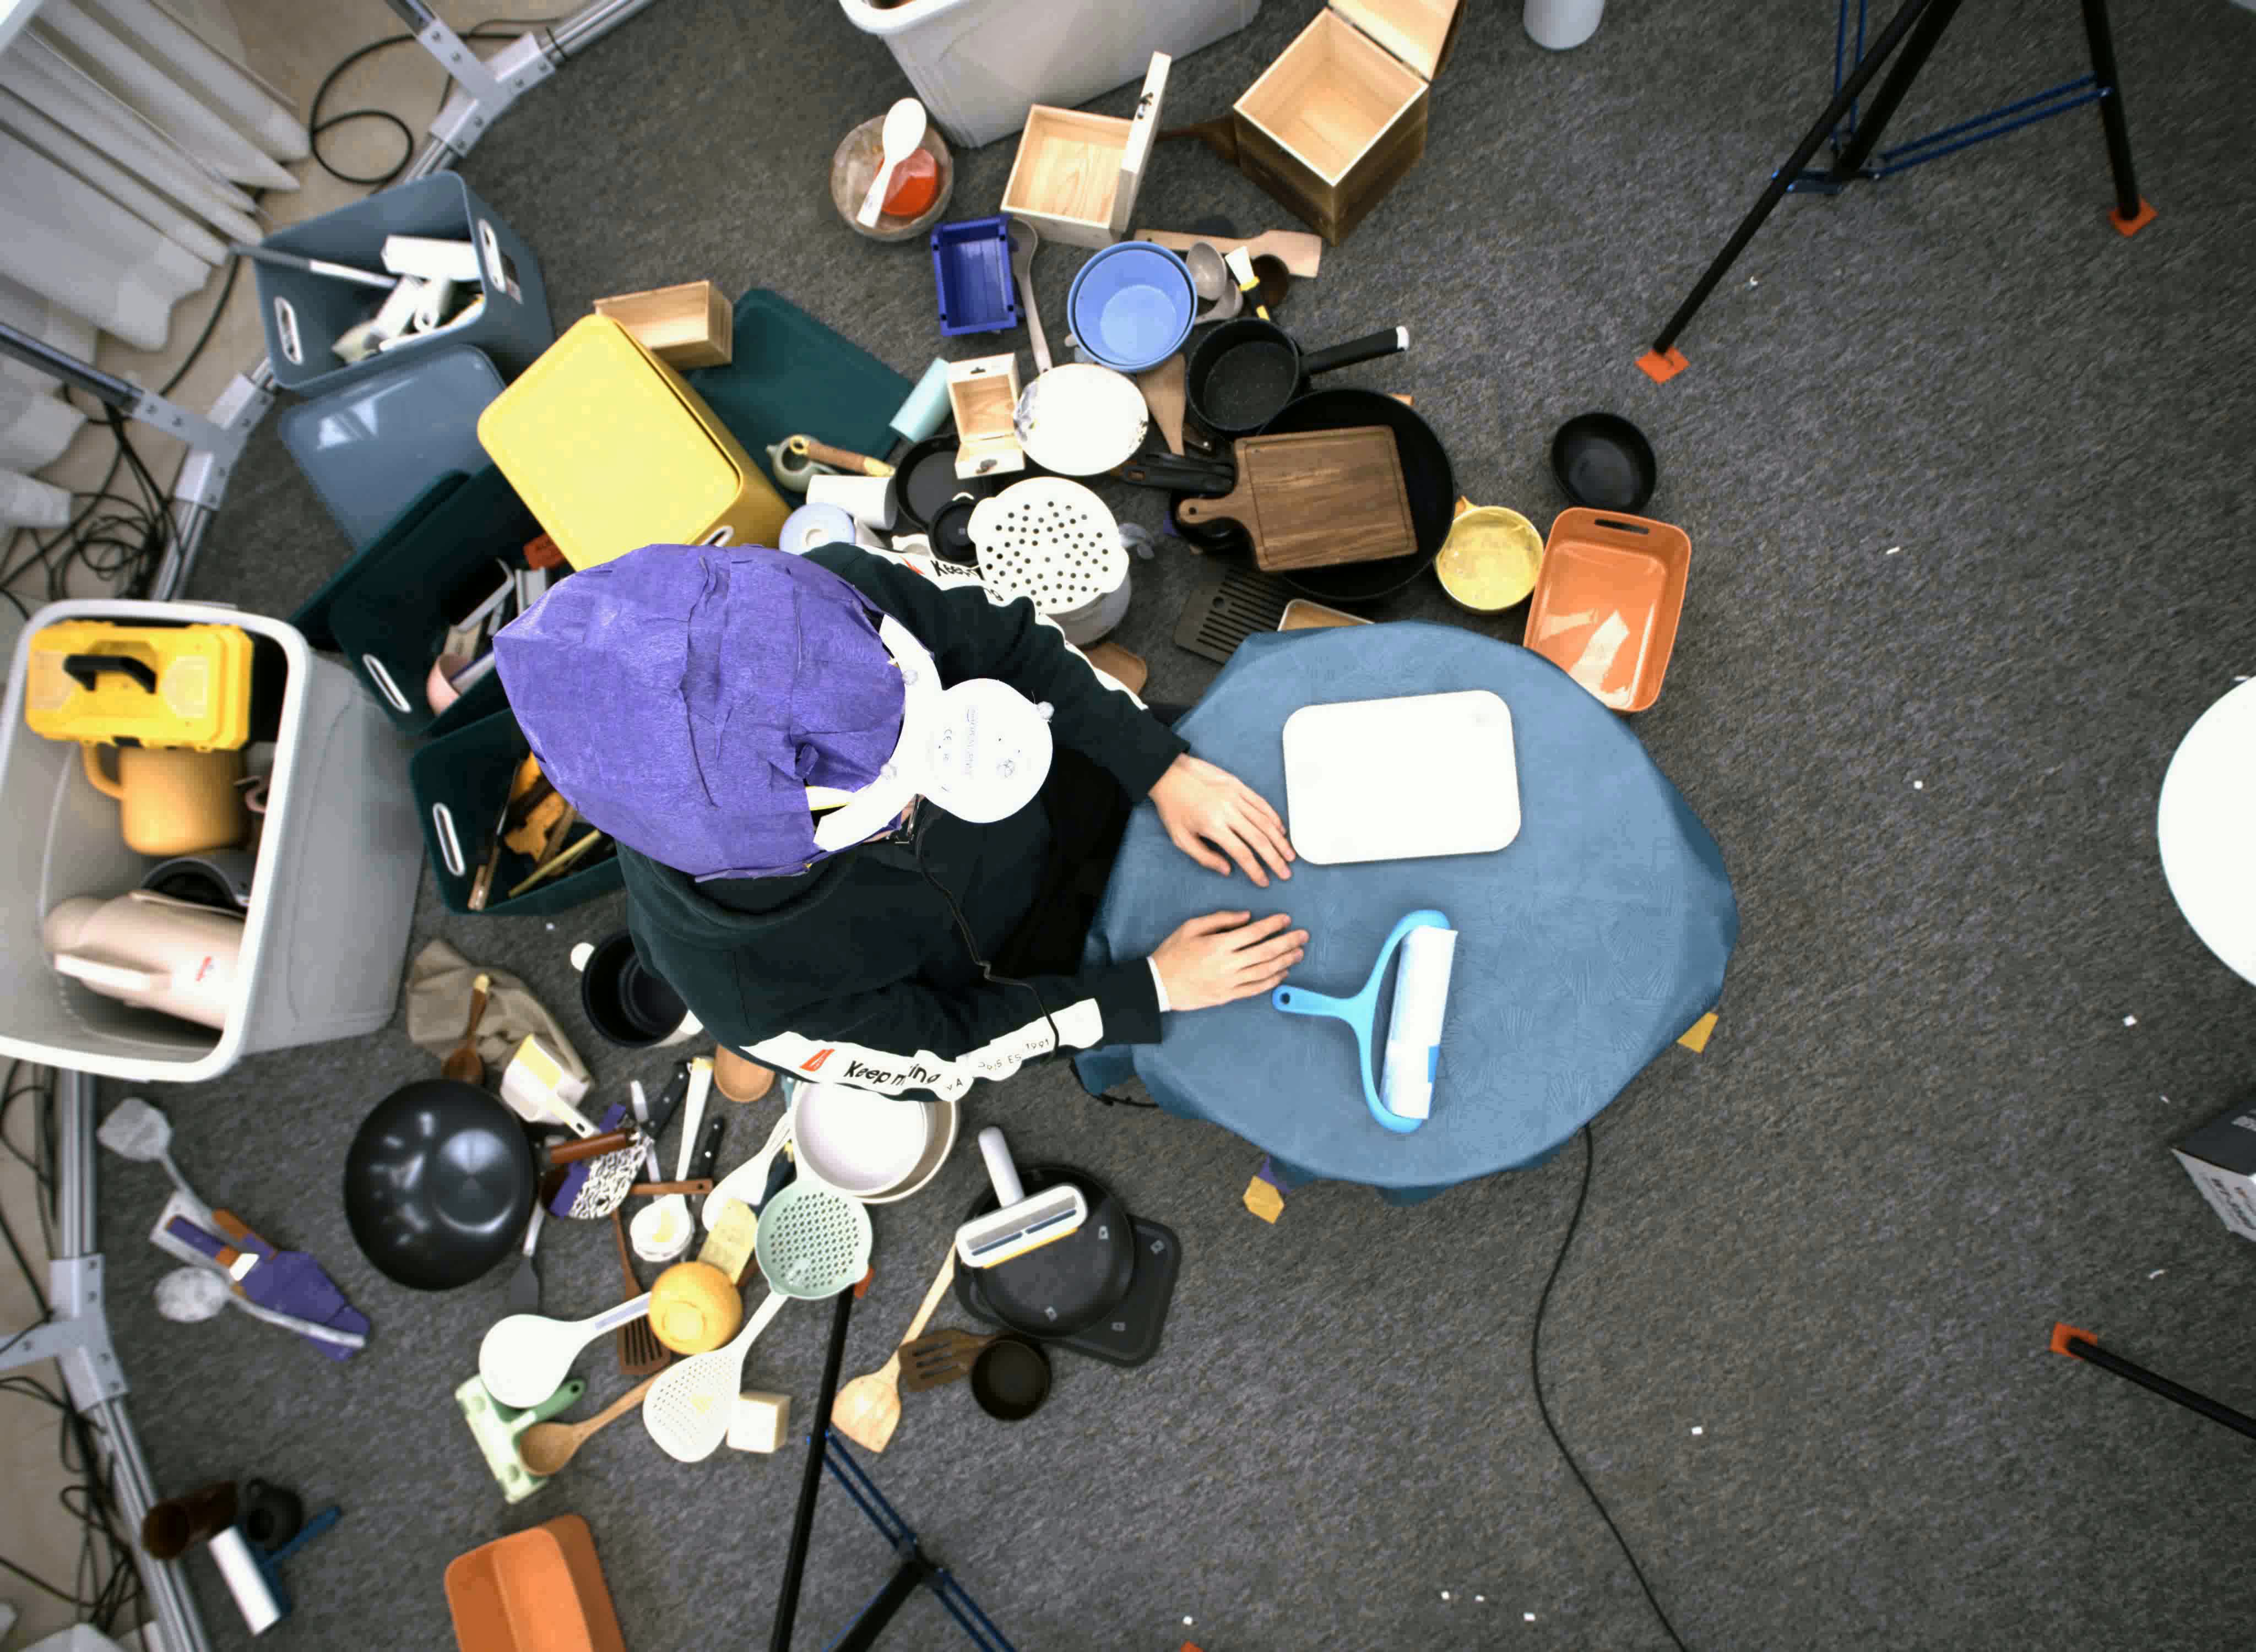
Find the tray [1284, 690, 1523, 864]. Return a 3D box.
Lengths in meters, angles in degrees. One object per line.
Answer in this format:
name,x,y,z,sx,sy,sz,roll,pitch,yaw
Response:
tray,0.288,-0.052,1.449,0.241,0.017,0.170,-5,86,10

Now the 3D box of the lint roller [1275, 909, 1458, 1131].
lint roller,0.240,0.191,1.426,0.181,0.068,0.228,6,90,9
